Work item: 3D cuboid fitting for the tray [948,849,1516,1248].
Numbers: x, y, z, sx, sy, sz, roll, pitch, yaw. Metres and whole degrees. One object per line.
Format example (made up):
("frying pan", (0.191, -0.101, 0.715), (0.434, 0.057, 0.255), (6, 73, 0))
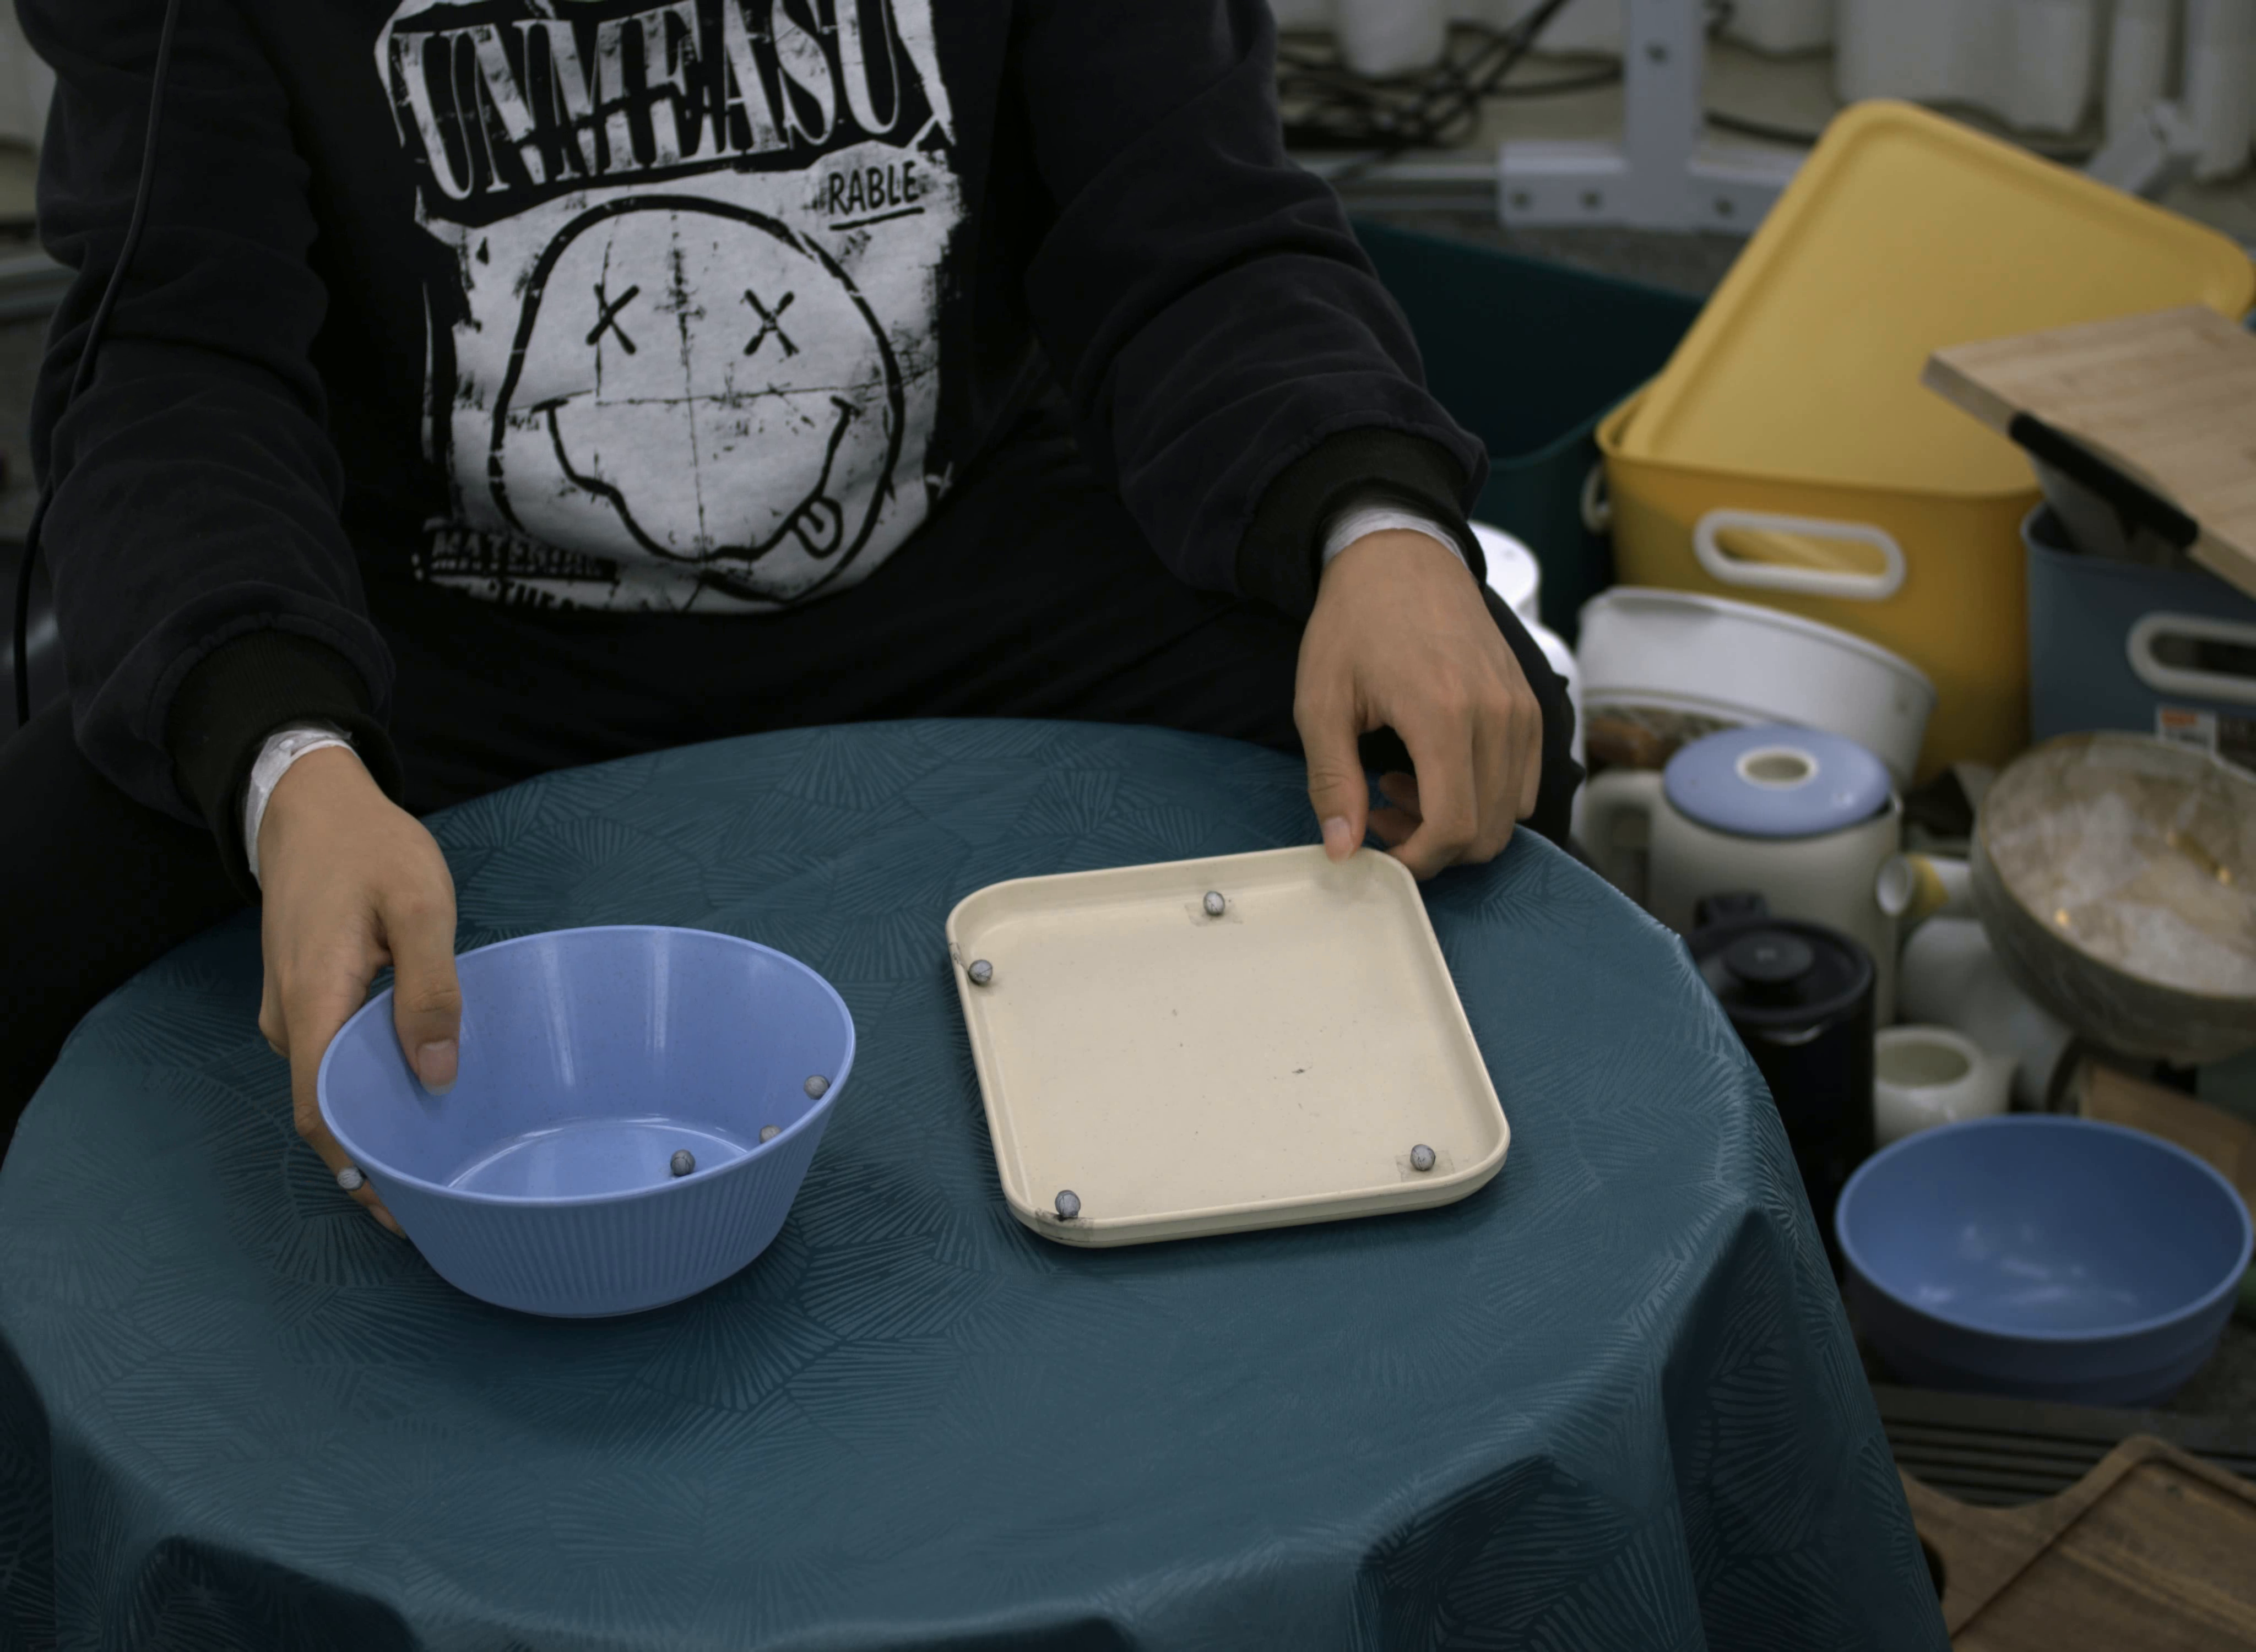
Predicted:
("tray", (0.032, 0.075, 1.929), (0.171, 0.017, 0.243), (-5, 27, -6))

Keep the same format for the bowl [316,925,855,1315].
("bowl", (-0.175, 0.103, 1.839), (0.175, 0.069, 0.179), (-2, 28, 1))
